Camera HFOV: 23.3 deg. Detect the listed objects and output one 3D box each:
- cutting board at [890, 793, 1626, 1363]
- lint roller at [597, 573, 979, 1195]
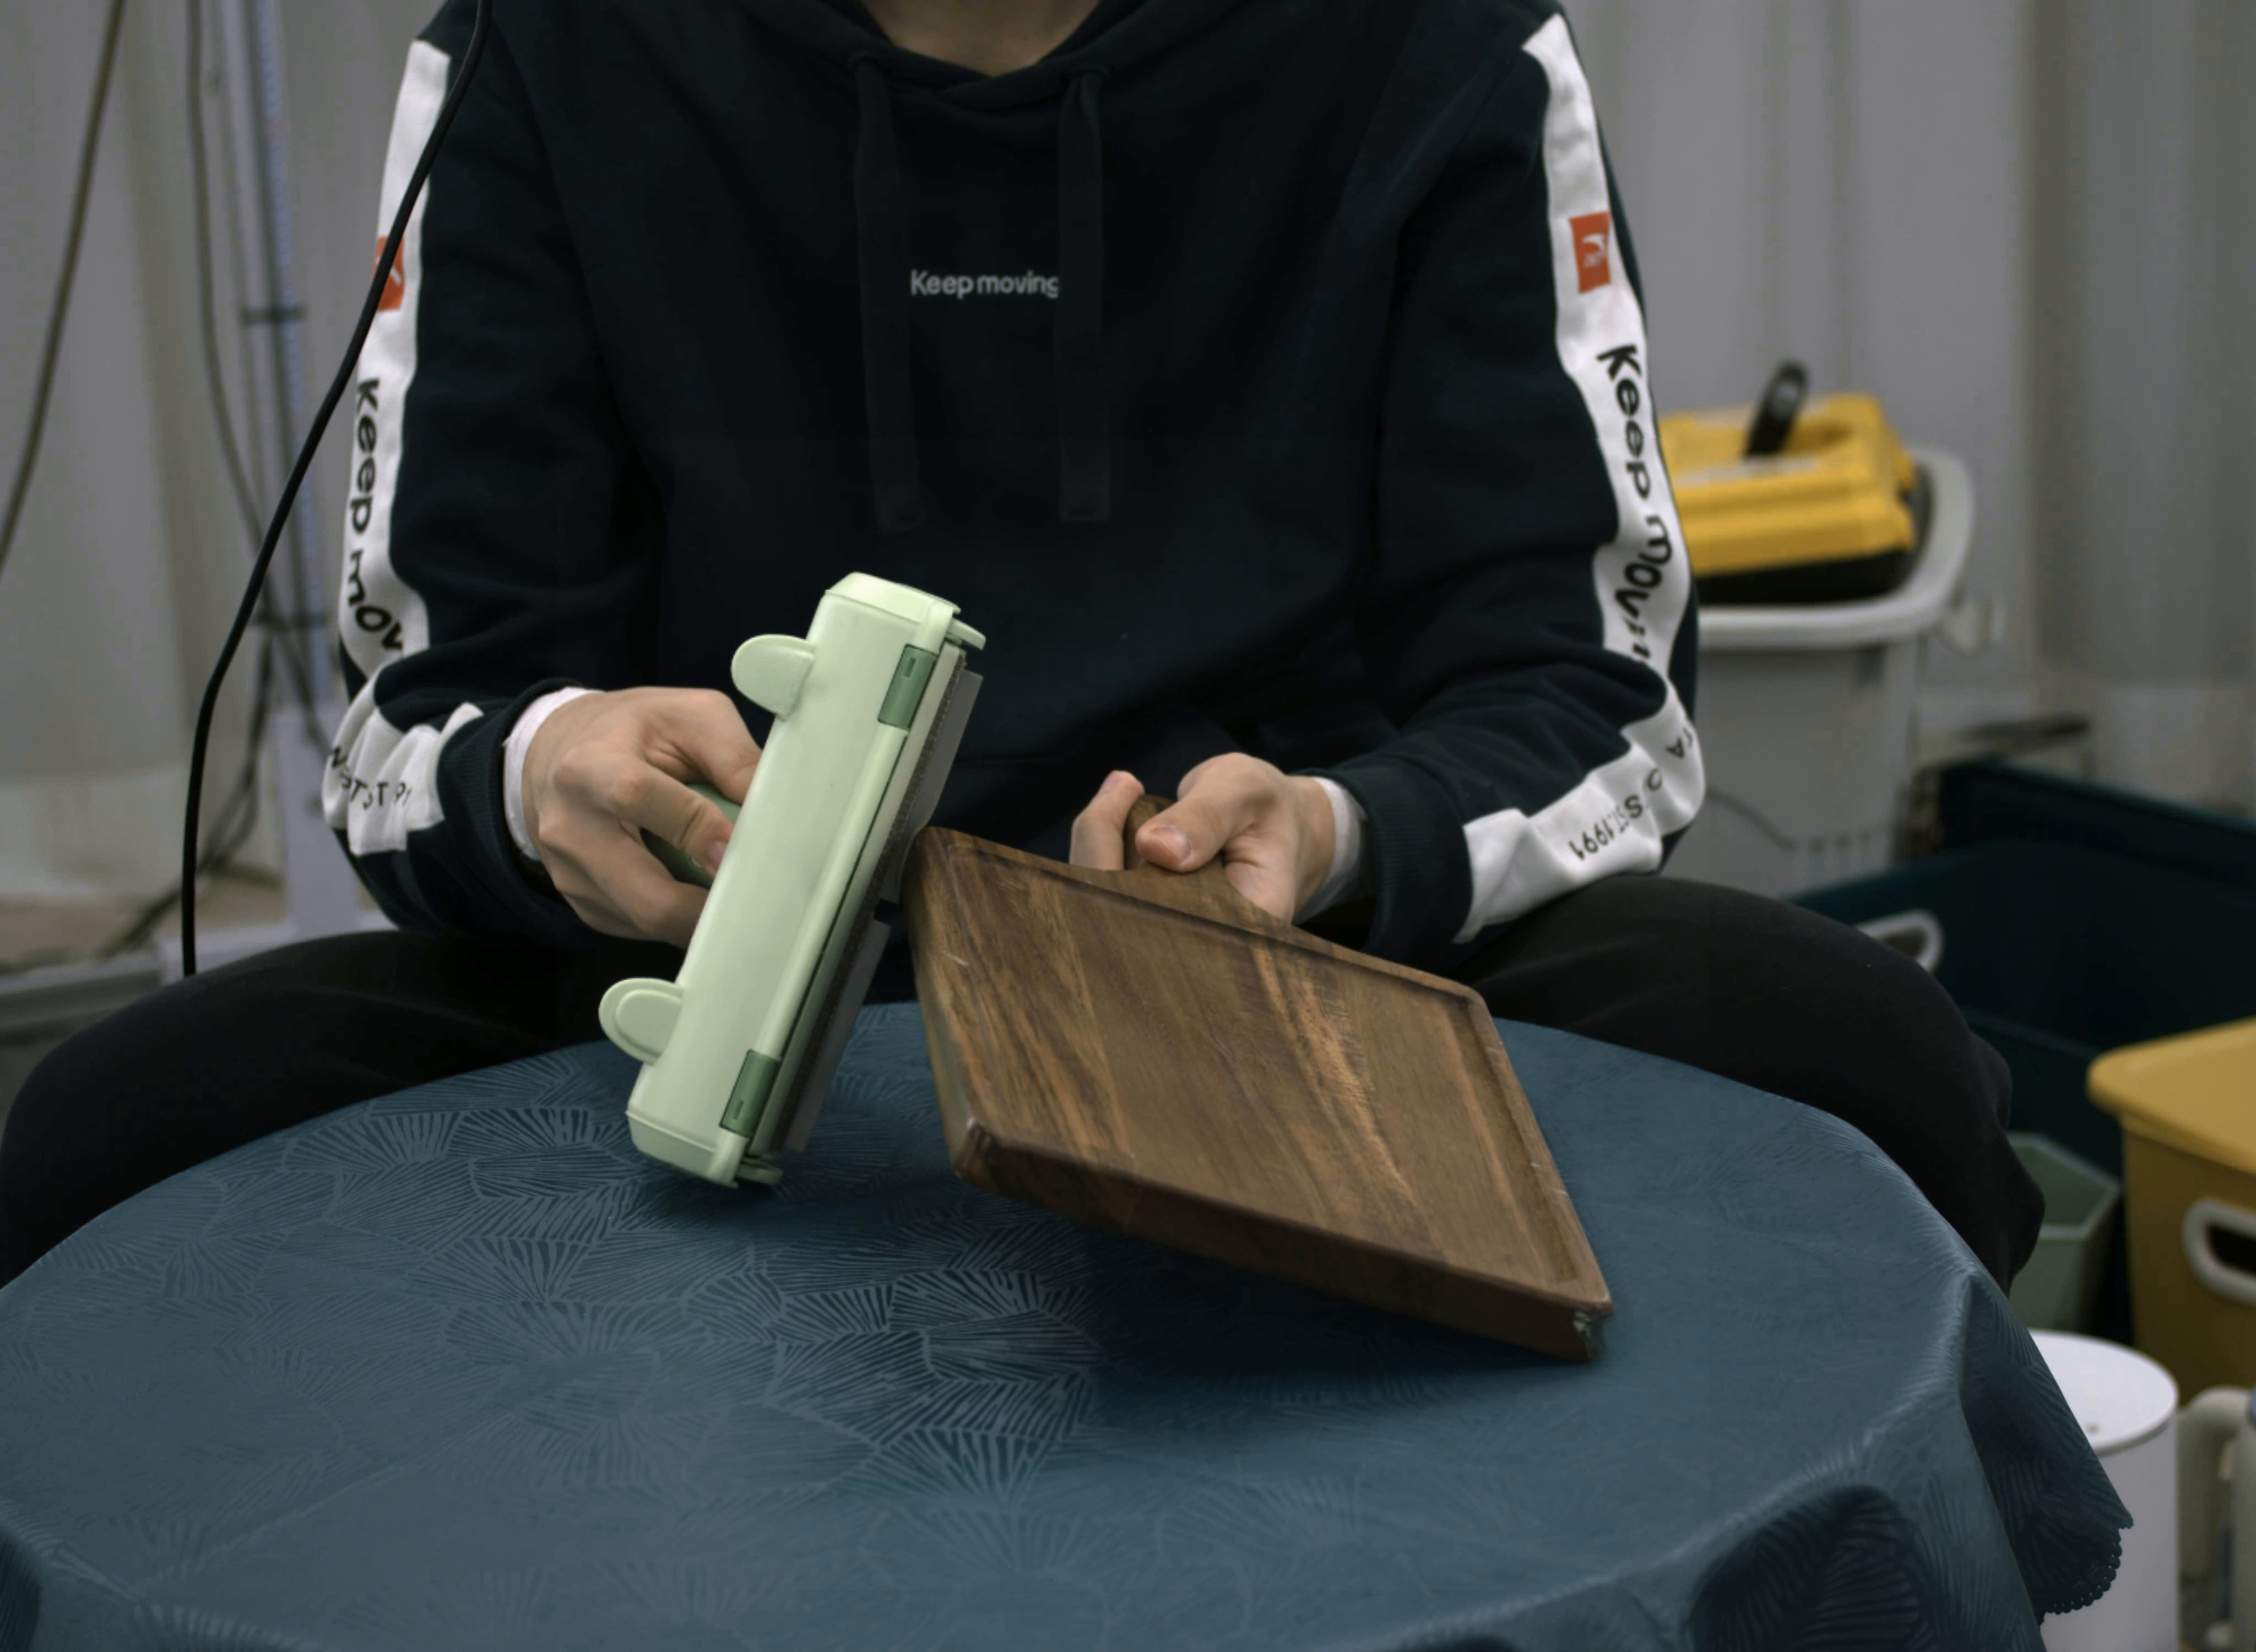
[{"bbox_3d":[0.028,0.060,1.687,0.200,0.023,0.355,17,17,-12],"label":"cutting board"},{"bbox_3d":[-0.138,0.006,1.768,0.081,0.199,0.184,23,-3,-35],"label":"lint roller"}]
